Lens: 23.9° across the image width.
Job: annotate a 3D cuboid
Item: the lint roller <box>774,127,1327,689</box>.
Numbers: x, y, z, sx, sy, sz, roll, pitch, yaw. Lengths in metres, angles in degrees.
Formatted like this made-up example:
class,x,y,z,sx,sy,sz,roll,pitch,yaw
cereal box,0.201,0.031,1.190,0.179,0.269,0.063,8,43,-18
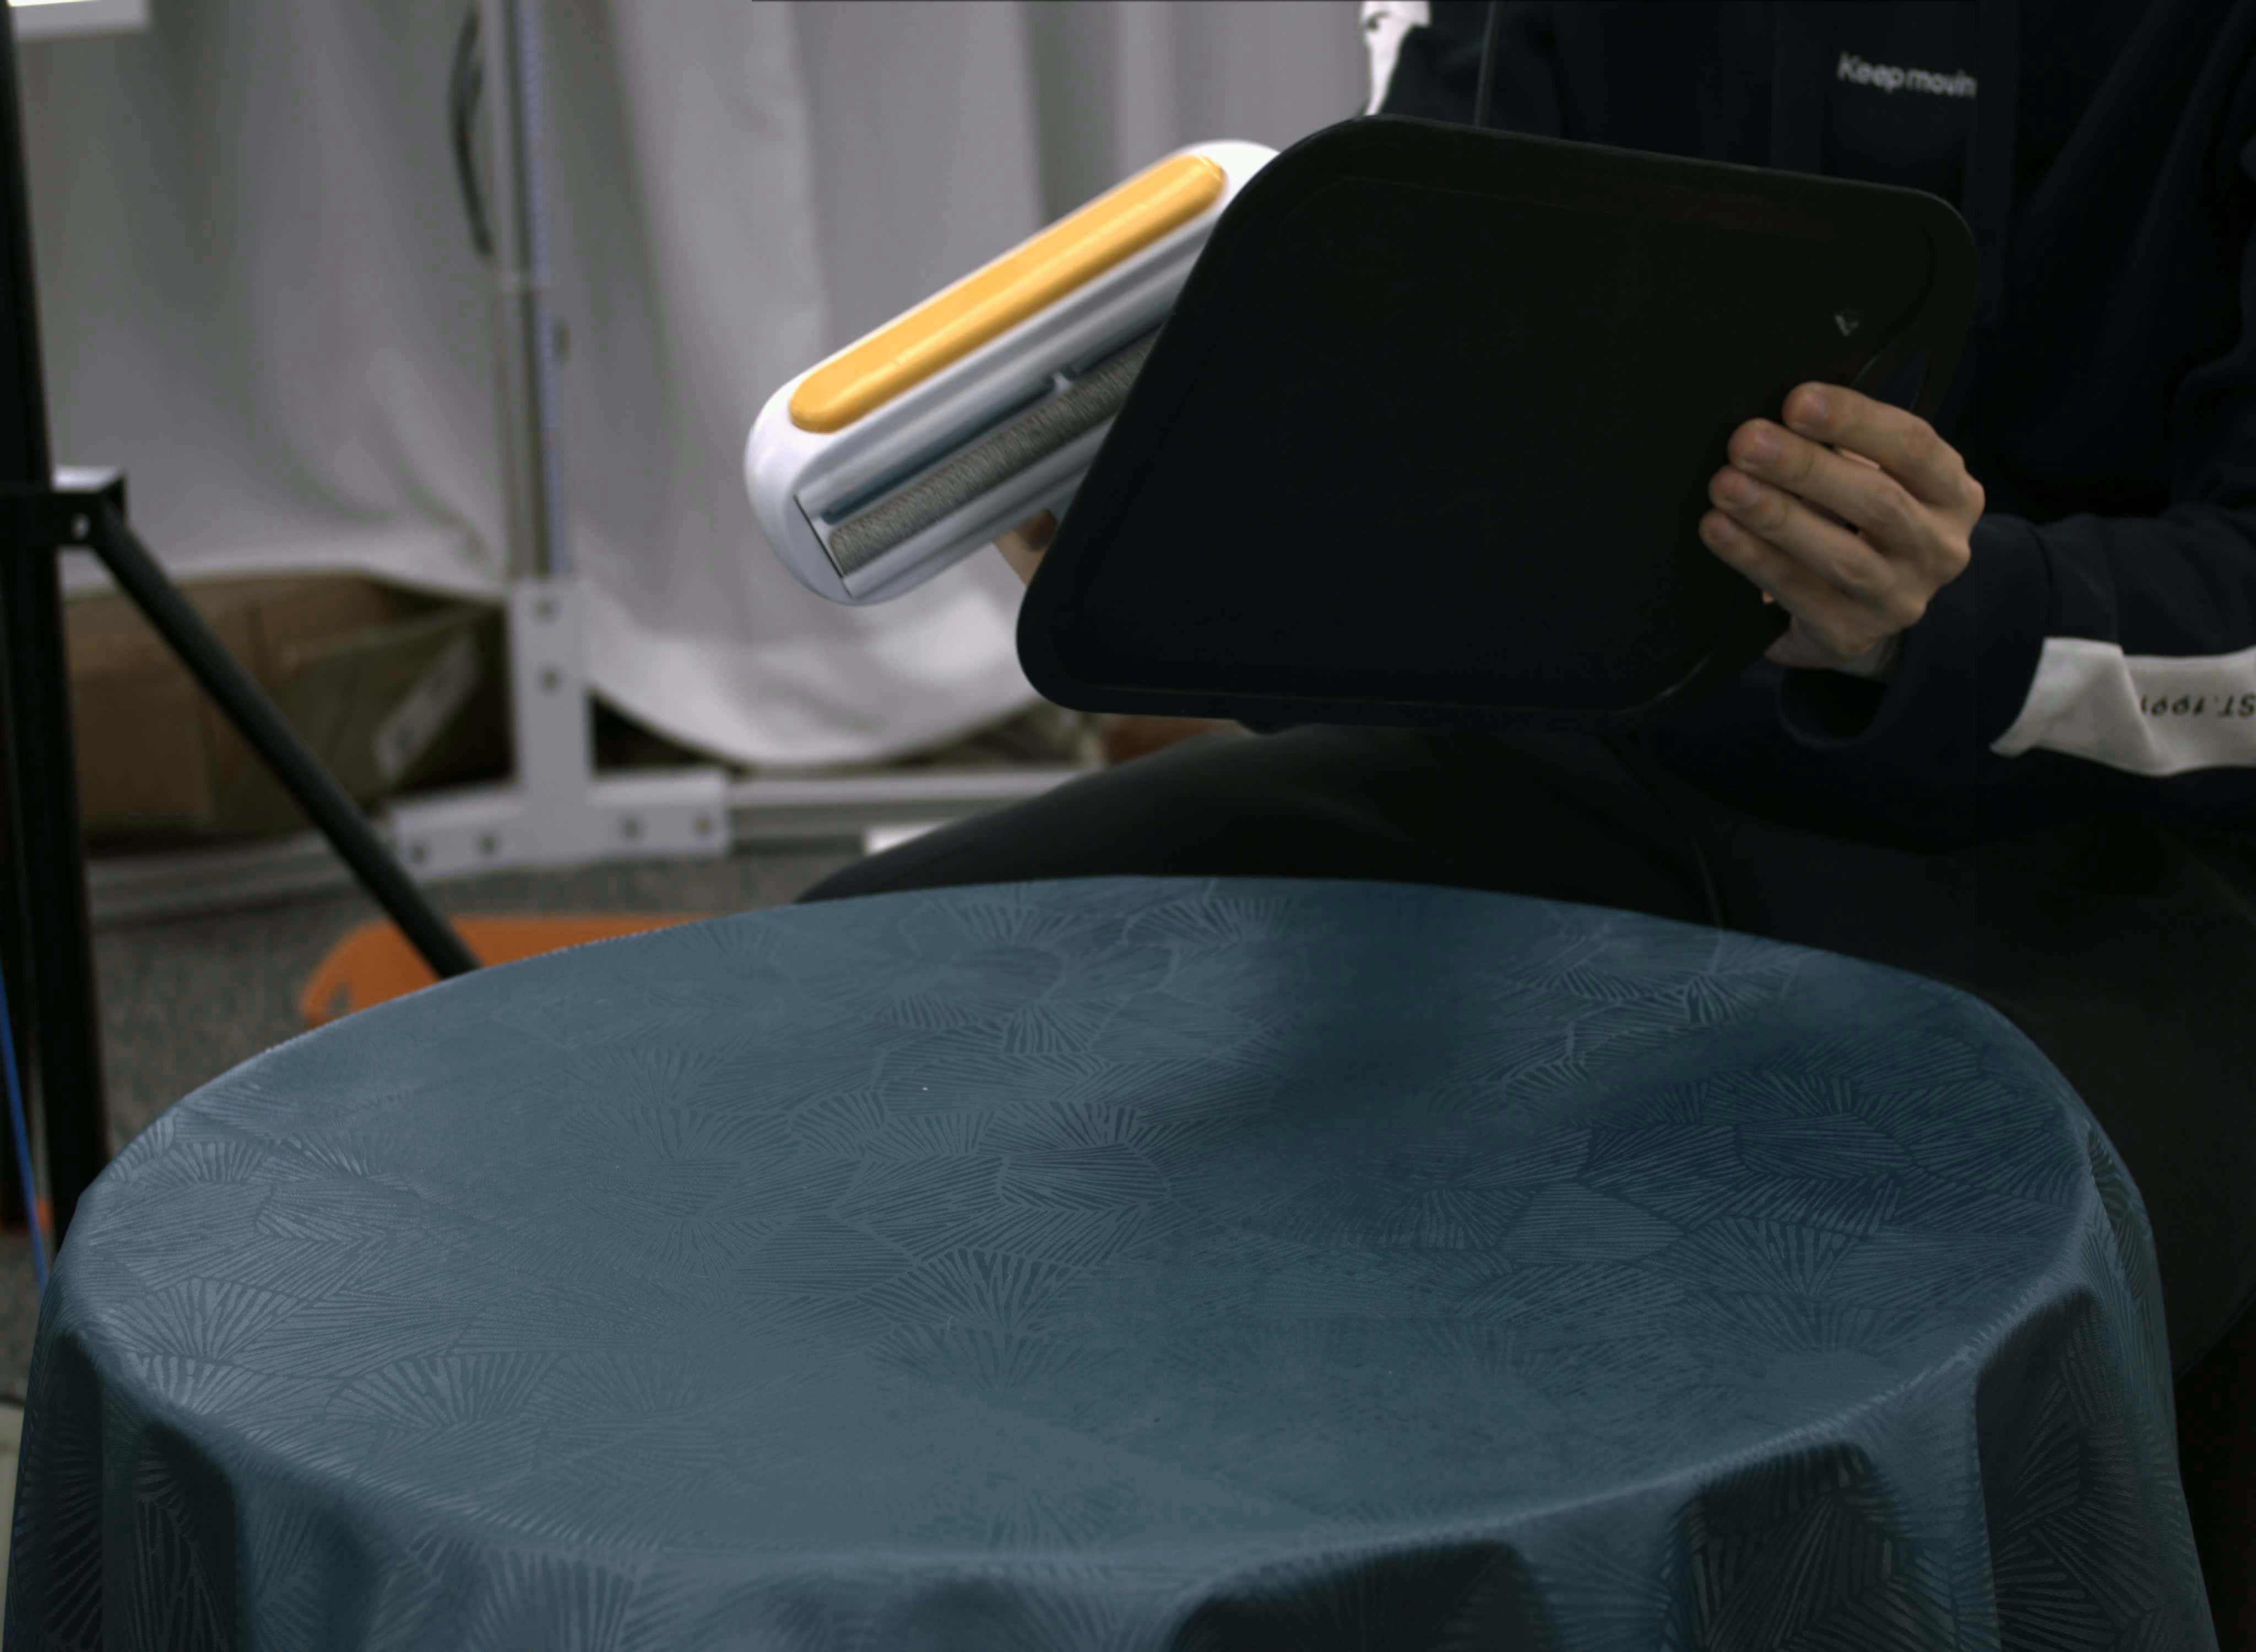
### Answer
class,x,y,z,sx,sy,sz,roll,pitch,yaw
lint roller,-0.003,-0.104,1.616,0.191,0.189,0.076,-30,45,-8

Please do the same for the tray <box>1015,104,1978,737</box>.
class,x,y,z,sx,sy,sz,roll,pitch,yaw
tray,0.122,-0.113,1.586,0.317,0.212,0.010,3,38,-39
